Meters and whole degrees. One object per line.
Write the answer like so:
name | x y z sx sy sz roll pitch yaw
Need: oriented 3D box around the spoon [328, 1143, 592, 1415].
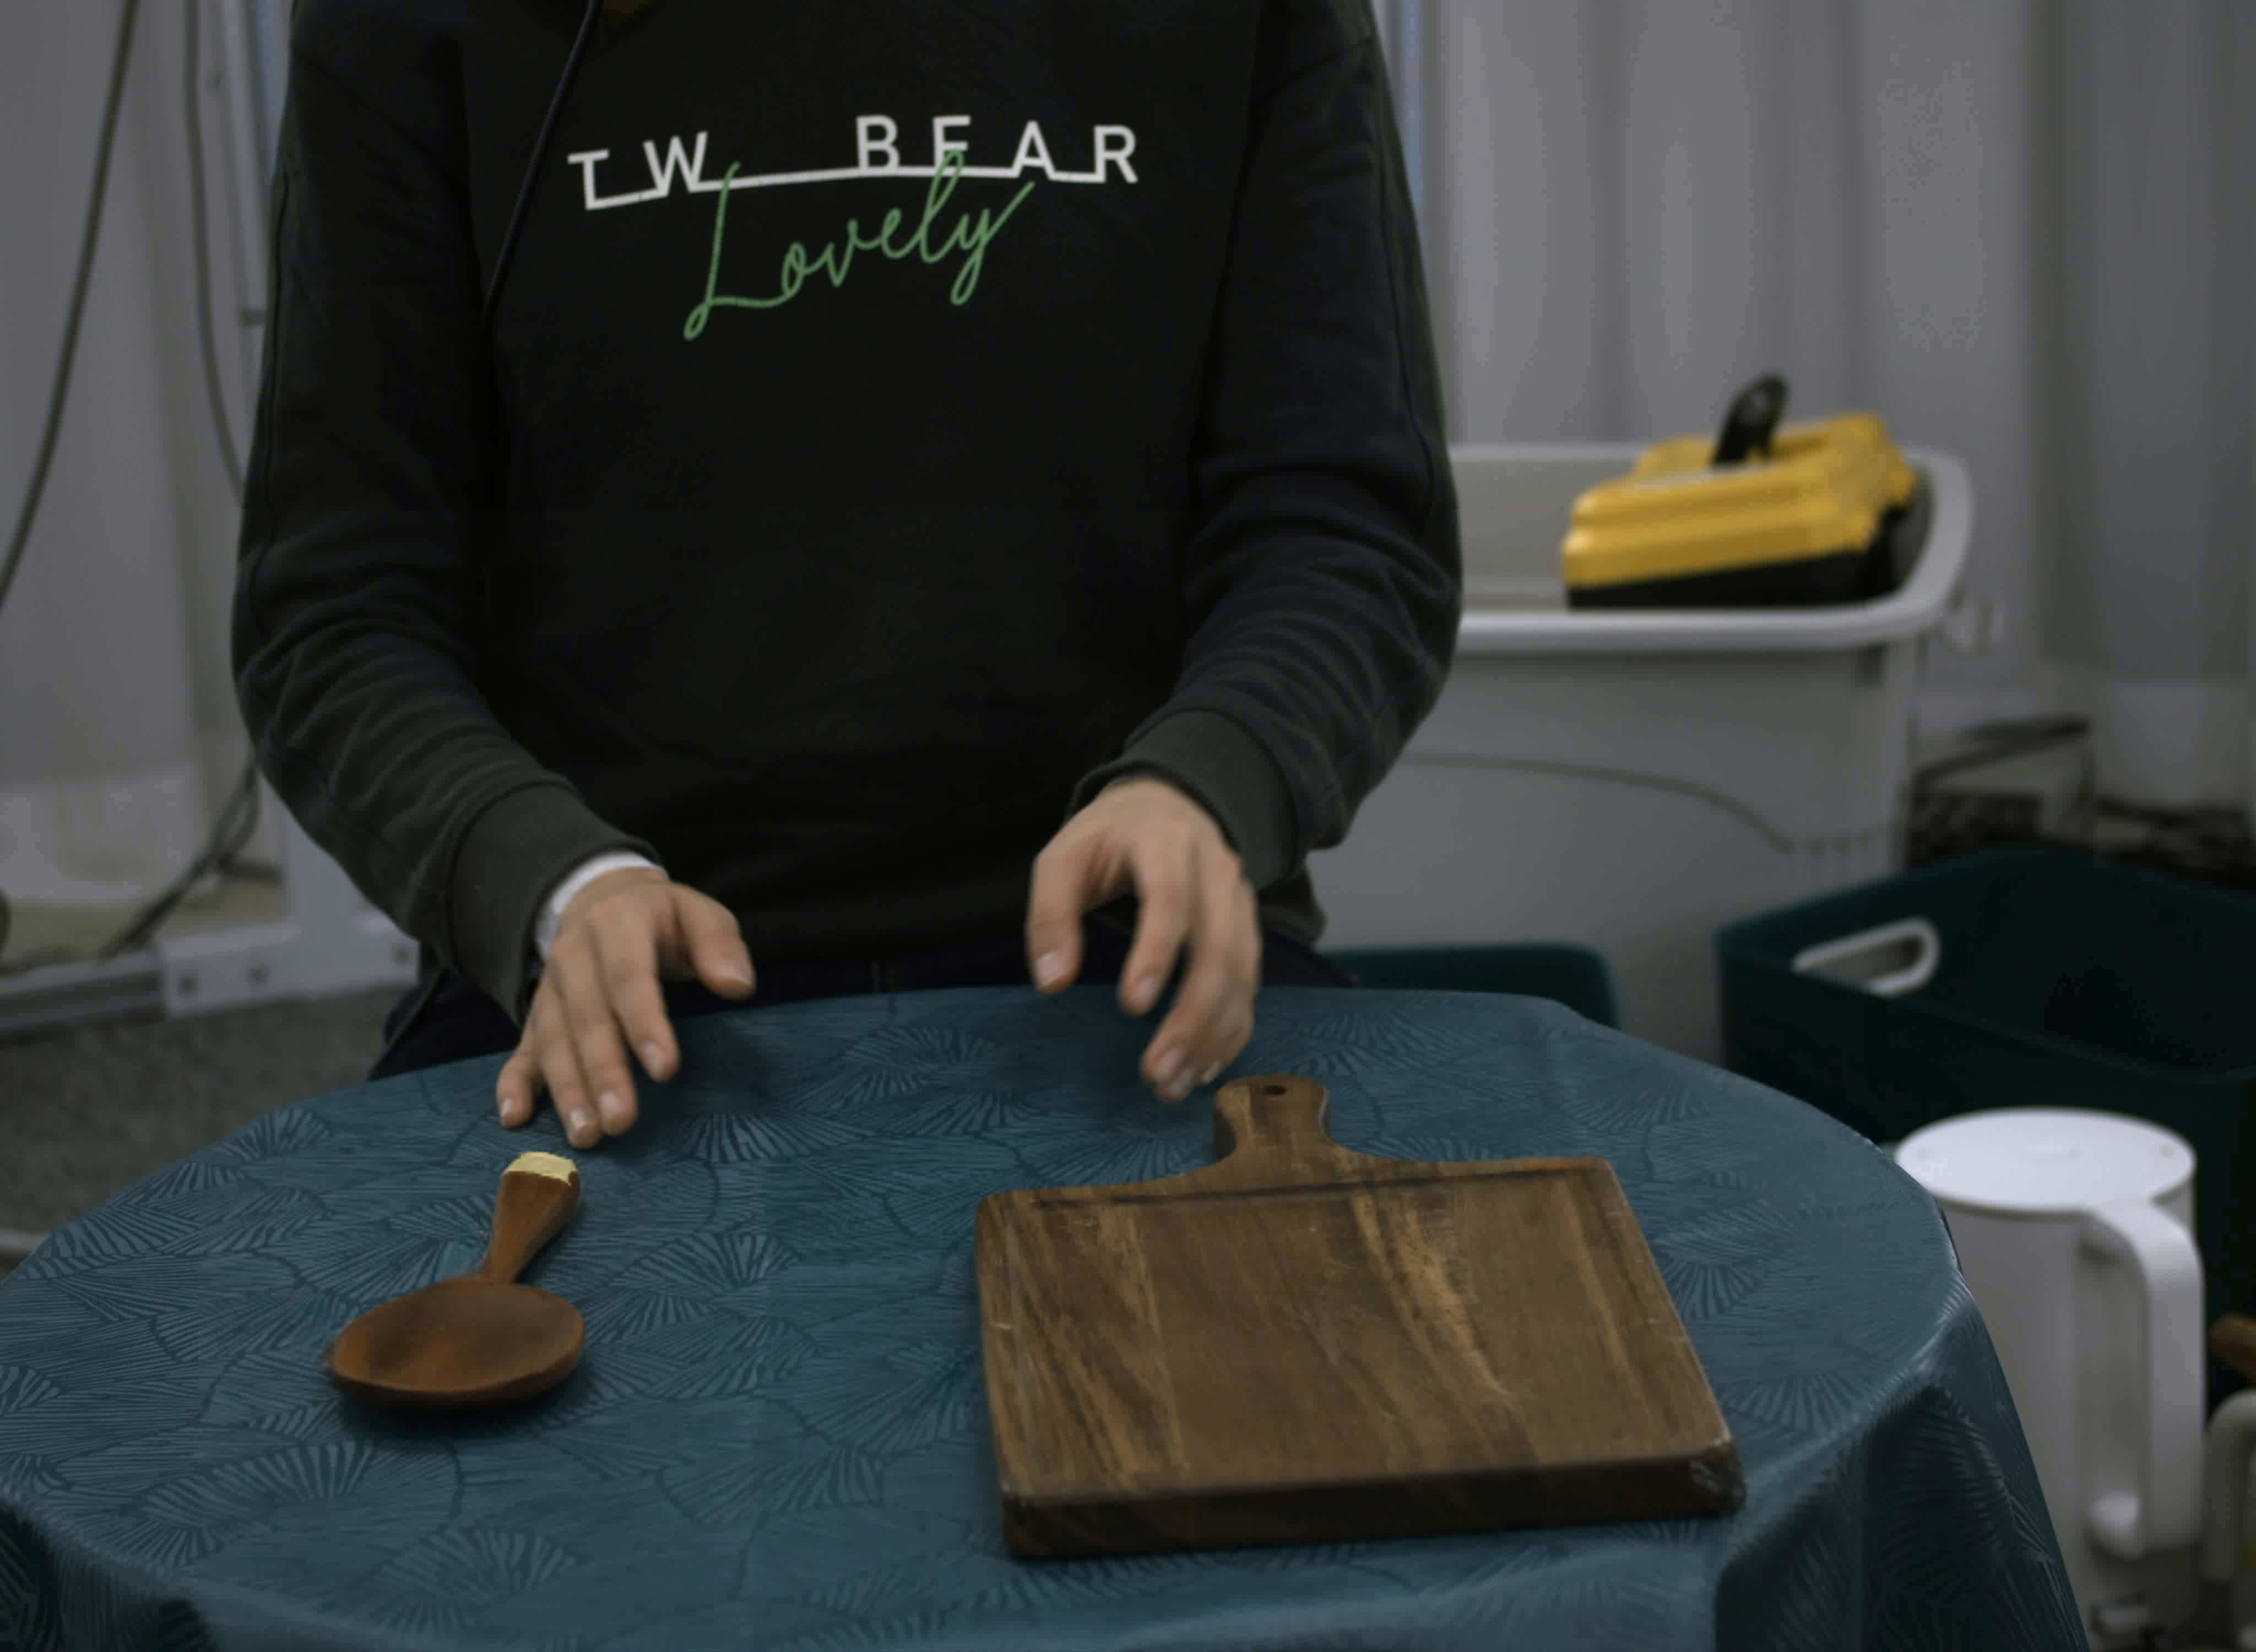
spoon | -0.188 0.136 1.634 0.075 0.017 0.217 -4 15 4

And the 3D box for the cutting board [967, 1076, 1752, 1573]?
cutting board | 0.055 0.135 1.594 0.200 0.023 0.354 -4 15 -2
